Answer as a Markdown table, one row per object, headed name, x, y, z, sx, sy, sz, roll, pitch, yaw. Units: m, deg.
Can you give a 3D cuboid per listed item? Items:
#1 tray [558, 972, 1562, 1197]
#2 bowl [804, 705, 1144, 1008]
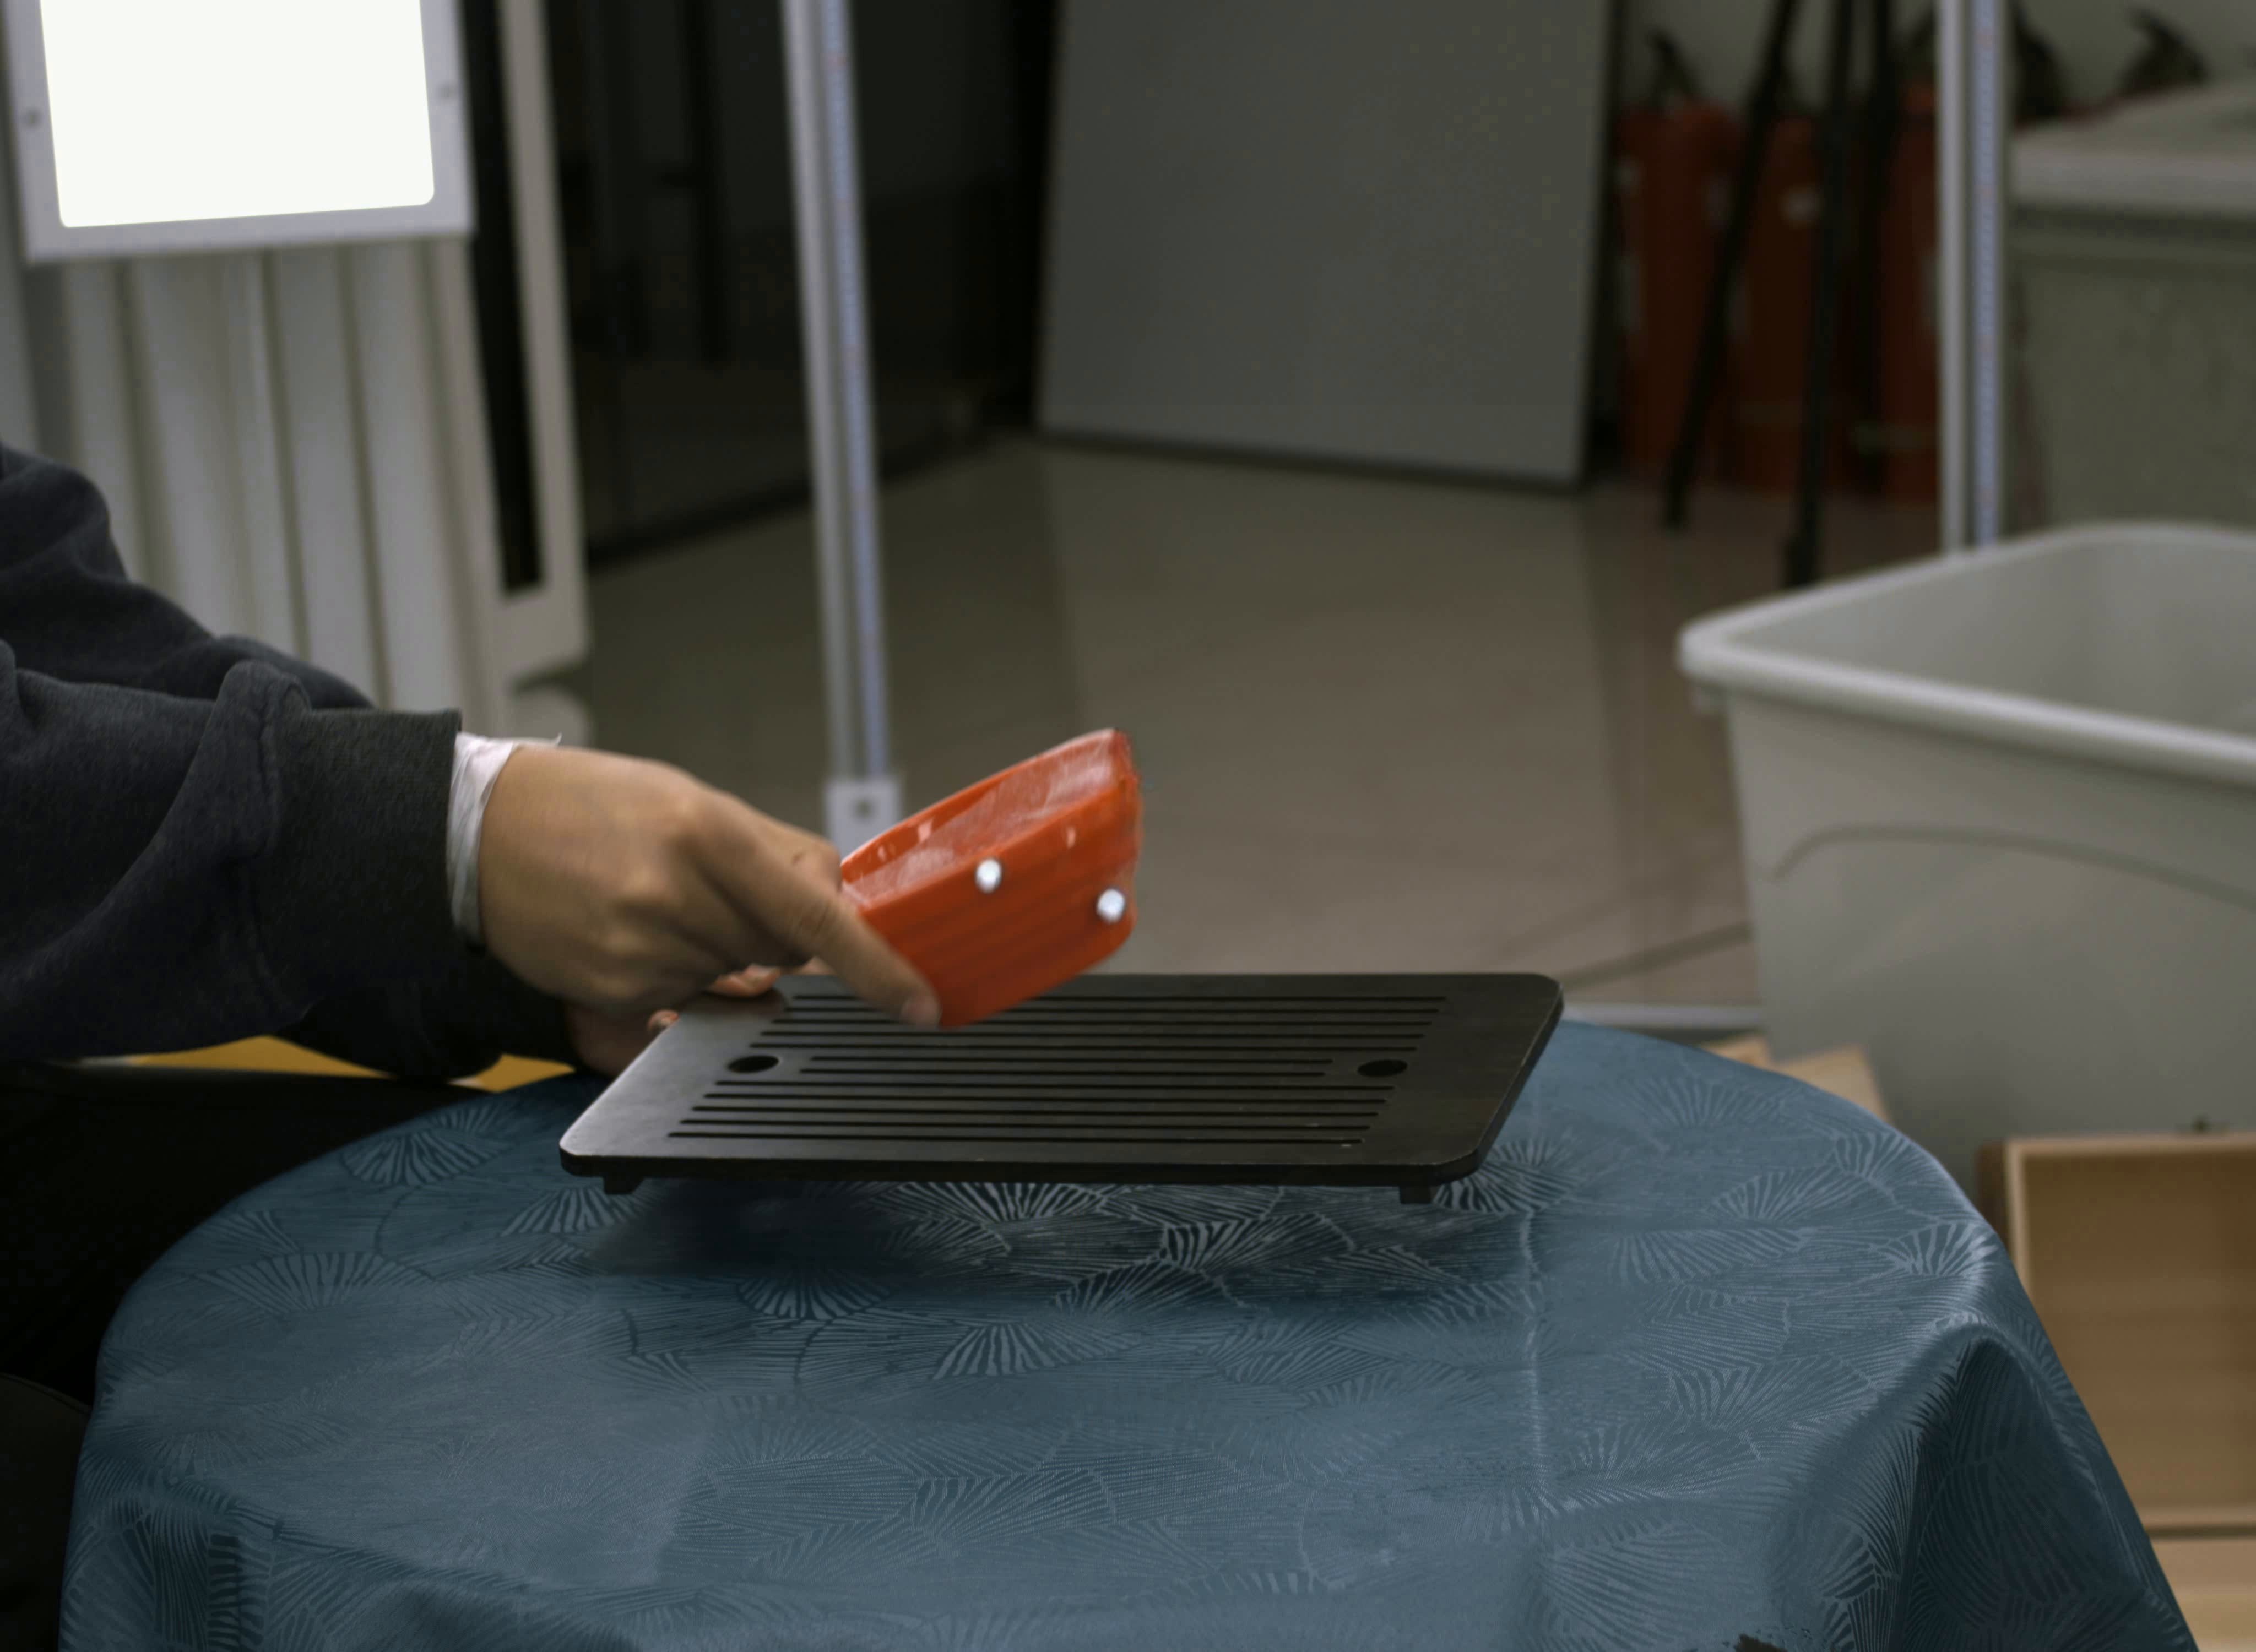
| name | x | y | z | sx | sy | sz | roll | pitch | yaw |
| --- | --- | --- | --- | --- | --- | --- | --- | --- | --- |
| tray | -0.019 | 0.084 | 1.756 | 0.305 | 0.019 | 0.169 | -1 | 18 | 18 |
| bowl | -0.038 | 0.014 | 1.609 | 0.118 | 0.051 | 0.119 | -28 | 9 | 3 |
